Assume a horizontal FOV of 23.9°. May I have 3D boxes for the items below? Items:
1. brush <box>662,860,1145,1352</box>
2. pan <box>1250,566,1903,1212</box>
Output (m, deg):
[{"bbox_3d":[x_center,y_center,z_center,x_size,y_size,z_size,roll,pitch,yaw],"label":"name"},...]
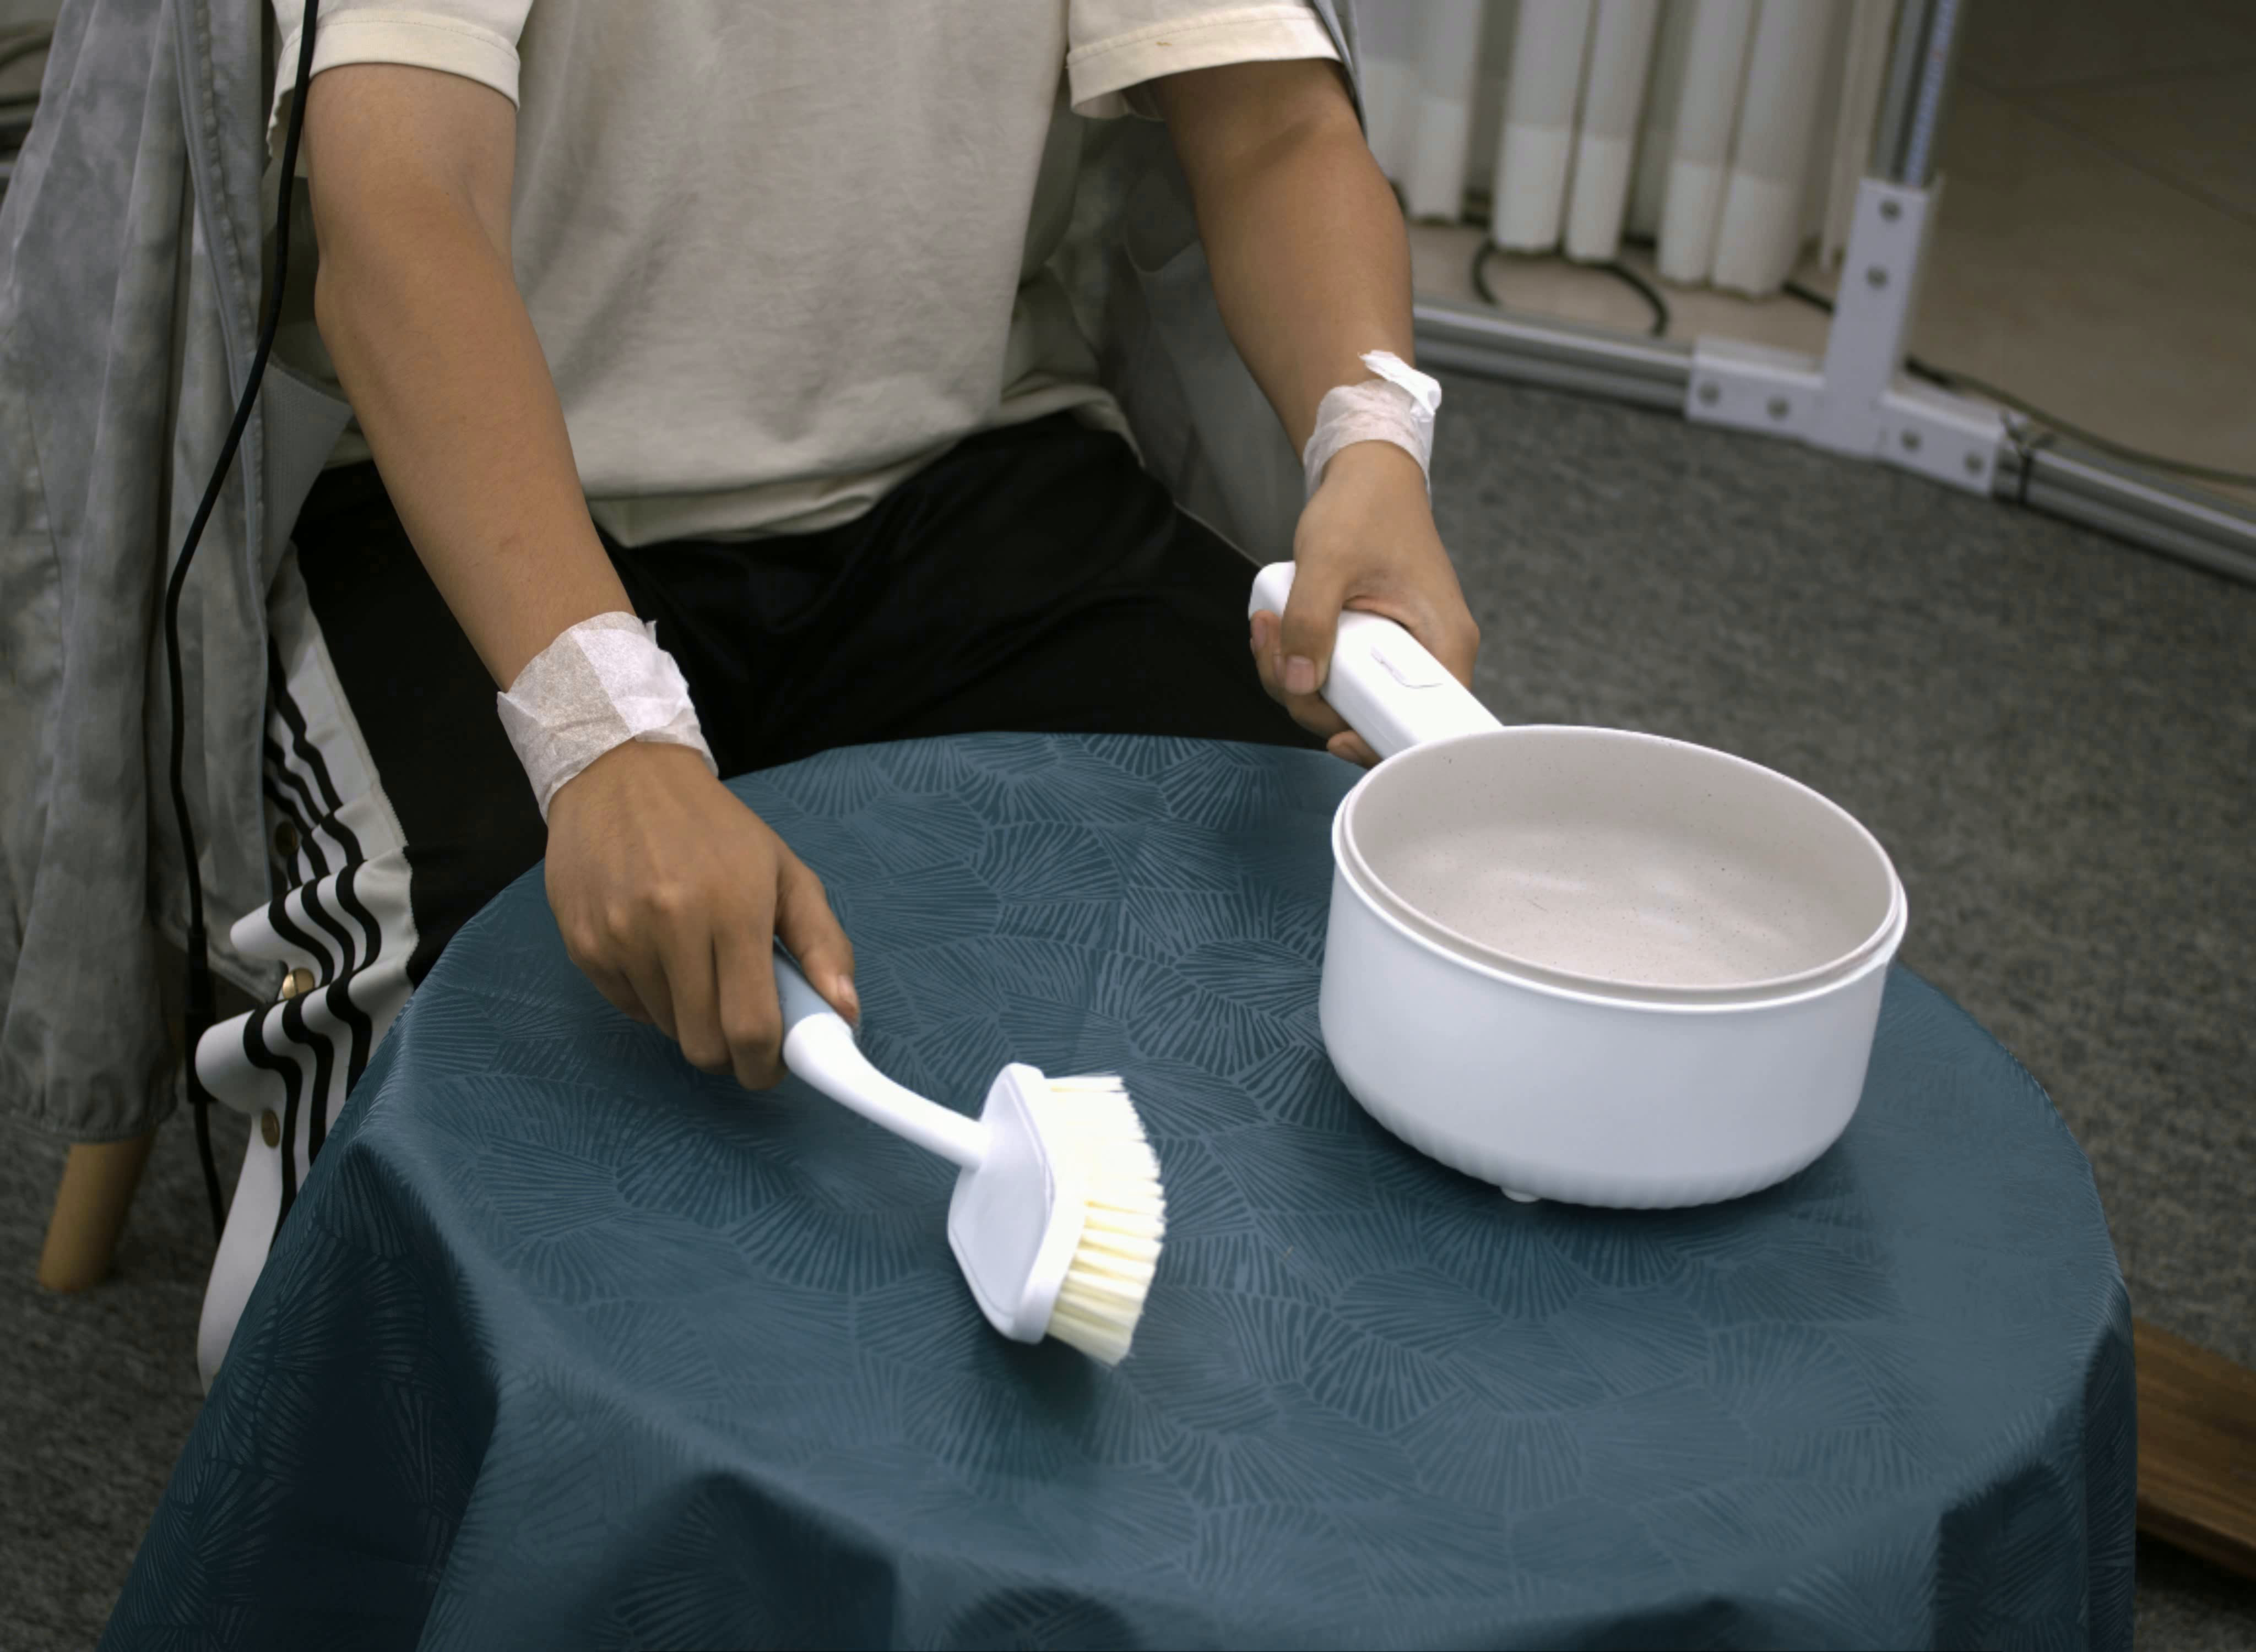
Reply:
[{"bbox_3d":[-0.063,0.084,1.794,0.083,0.084,0.328,-38,33,-5],"label":"brush"},{"bbox_3d":[0.133,0.021,1.931,0.200,0.102,0.358,-7,29,-24],"label":"pan"}]
